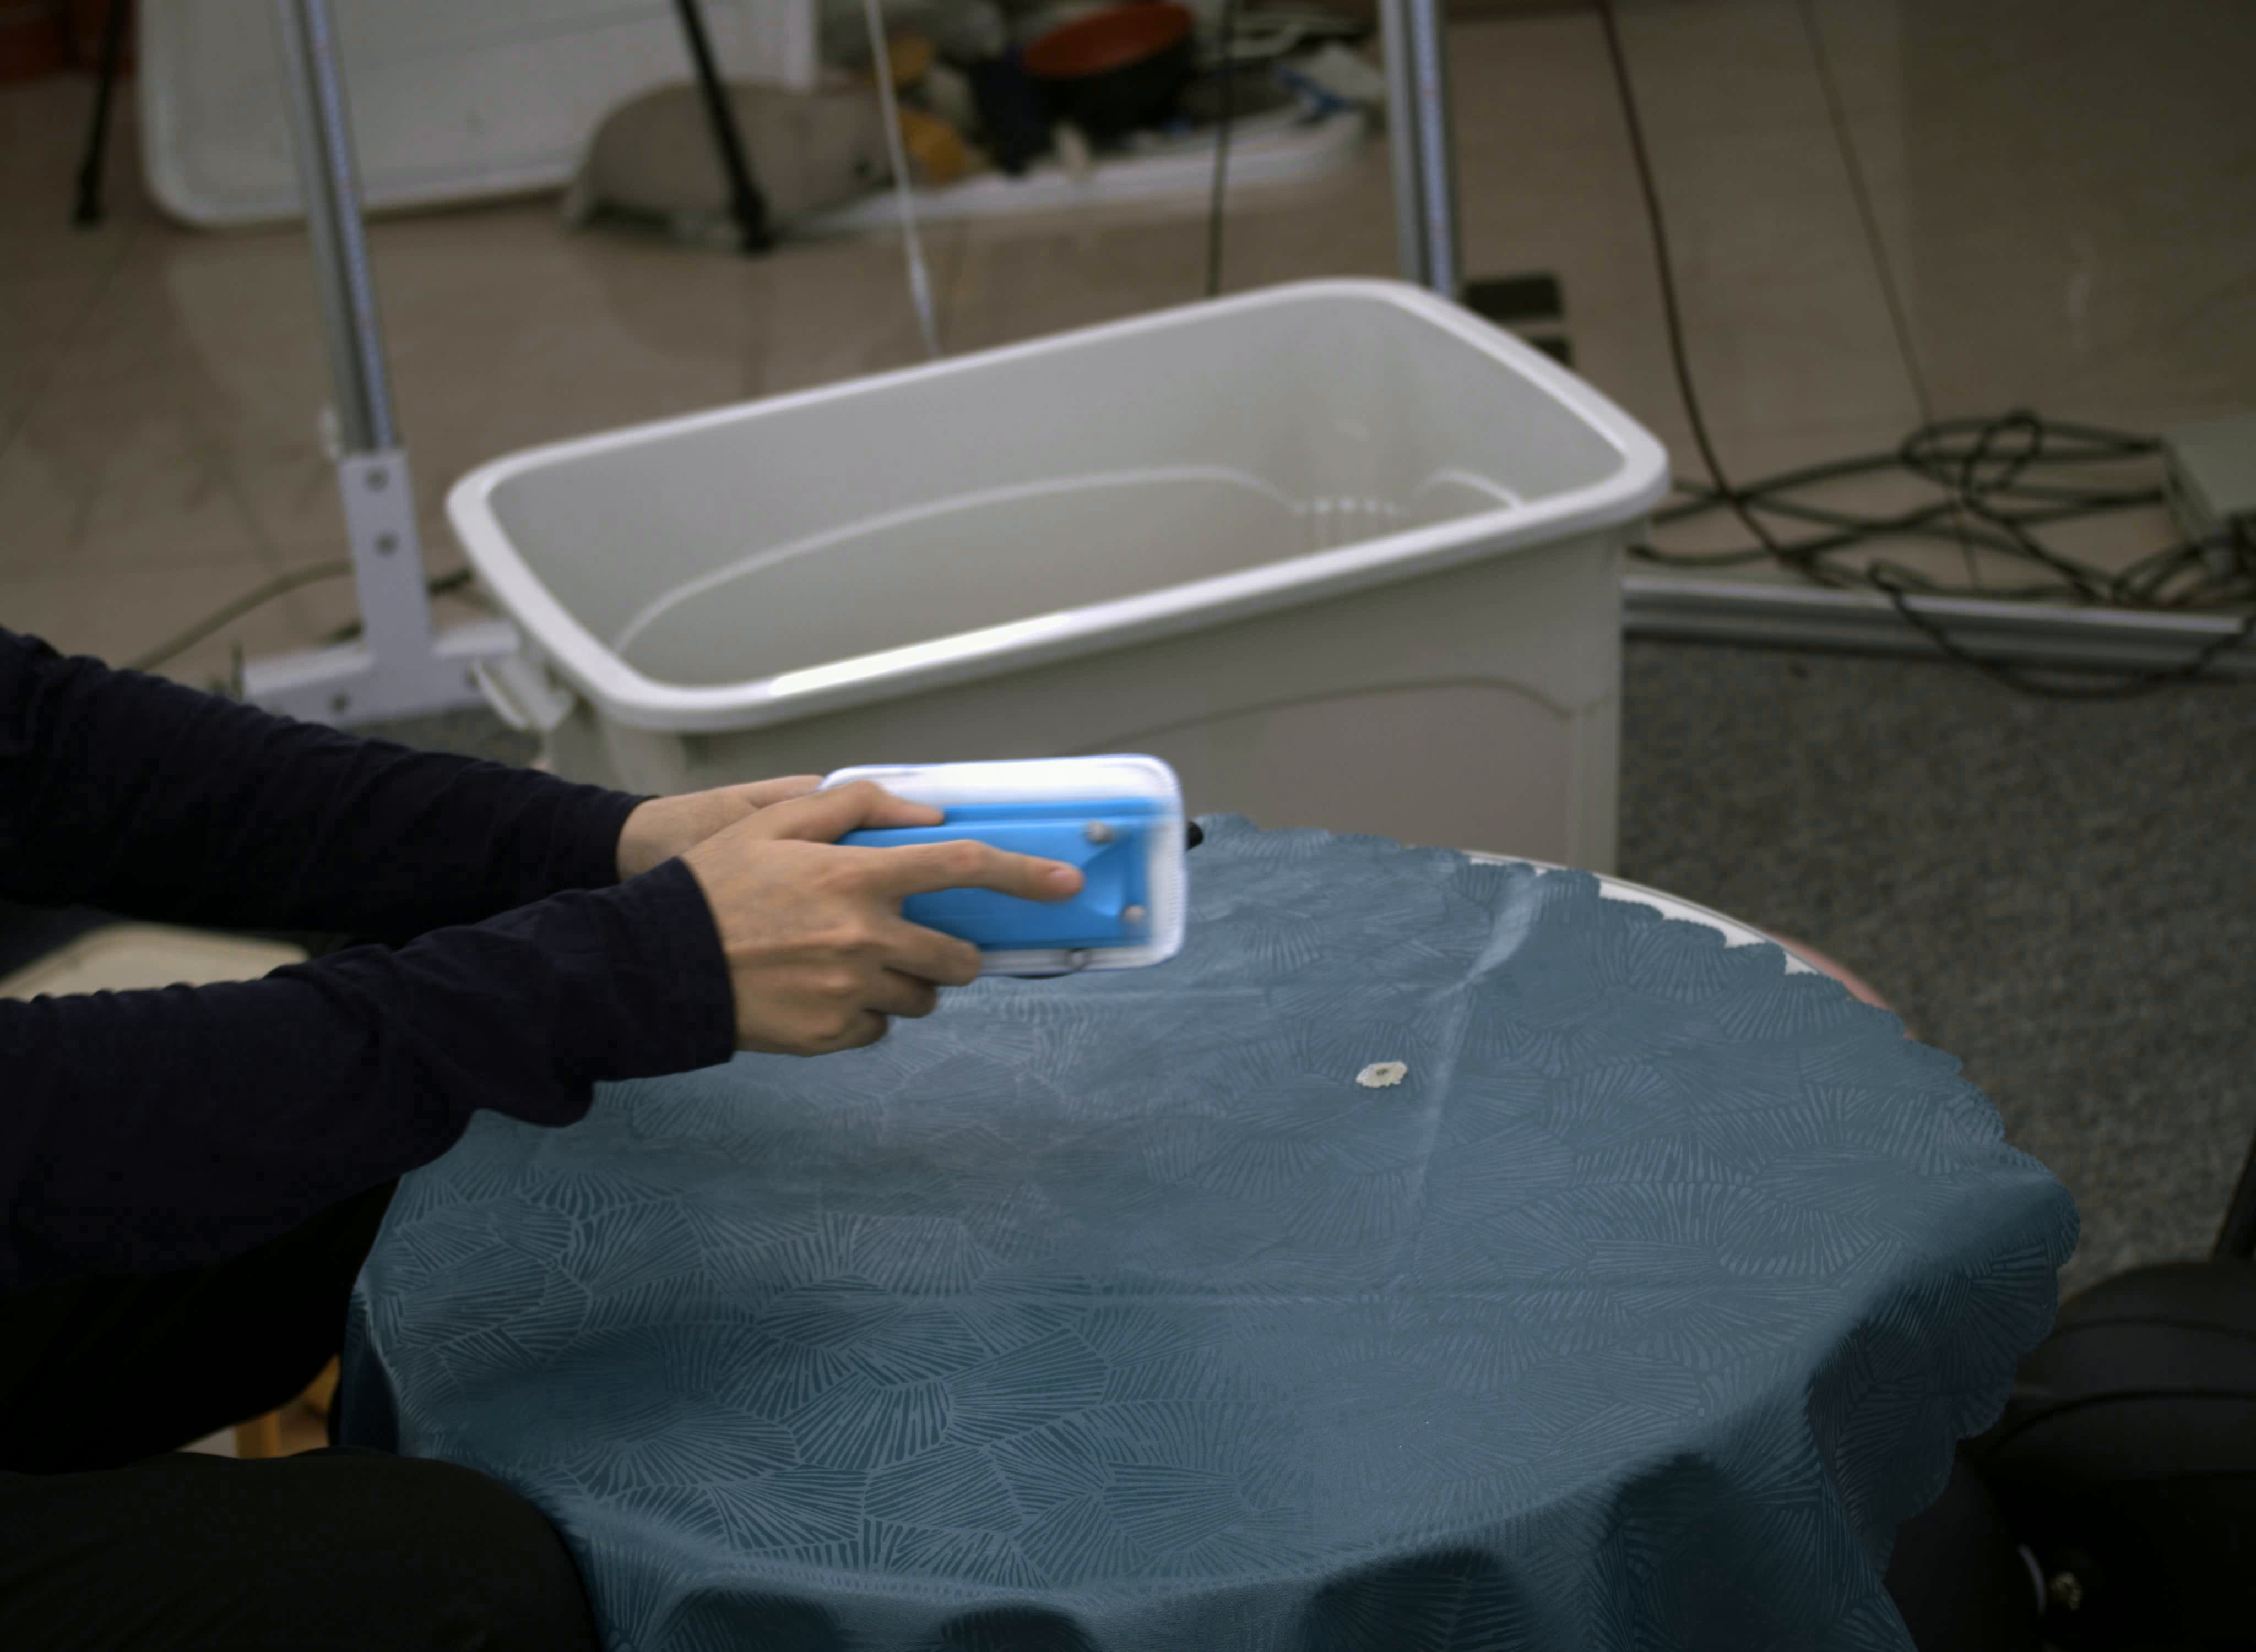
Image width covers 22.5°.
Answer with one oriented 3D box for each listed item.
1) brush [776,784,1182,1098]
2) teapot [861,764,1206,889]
[{"bbox_3d":[-0.056,0.039,2.086,0.144,0.083,0.056,-22,-8,-1],"label":"brush"},{"bbox_3d":[-0.039,0.016,2.161,0.133,0.093,0.052,0,39,13],"label":"teapot"}]
